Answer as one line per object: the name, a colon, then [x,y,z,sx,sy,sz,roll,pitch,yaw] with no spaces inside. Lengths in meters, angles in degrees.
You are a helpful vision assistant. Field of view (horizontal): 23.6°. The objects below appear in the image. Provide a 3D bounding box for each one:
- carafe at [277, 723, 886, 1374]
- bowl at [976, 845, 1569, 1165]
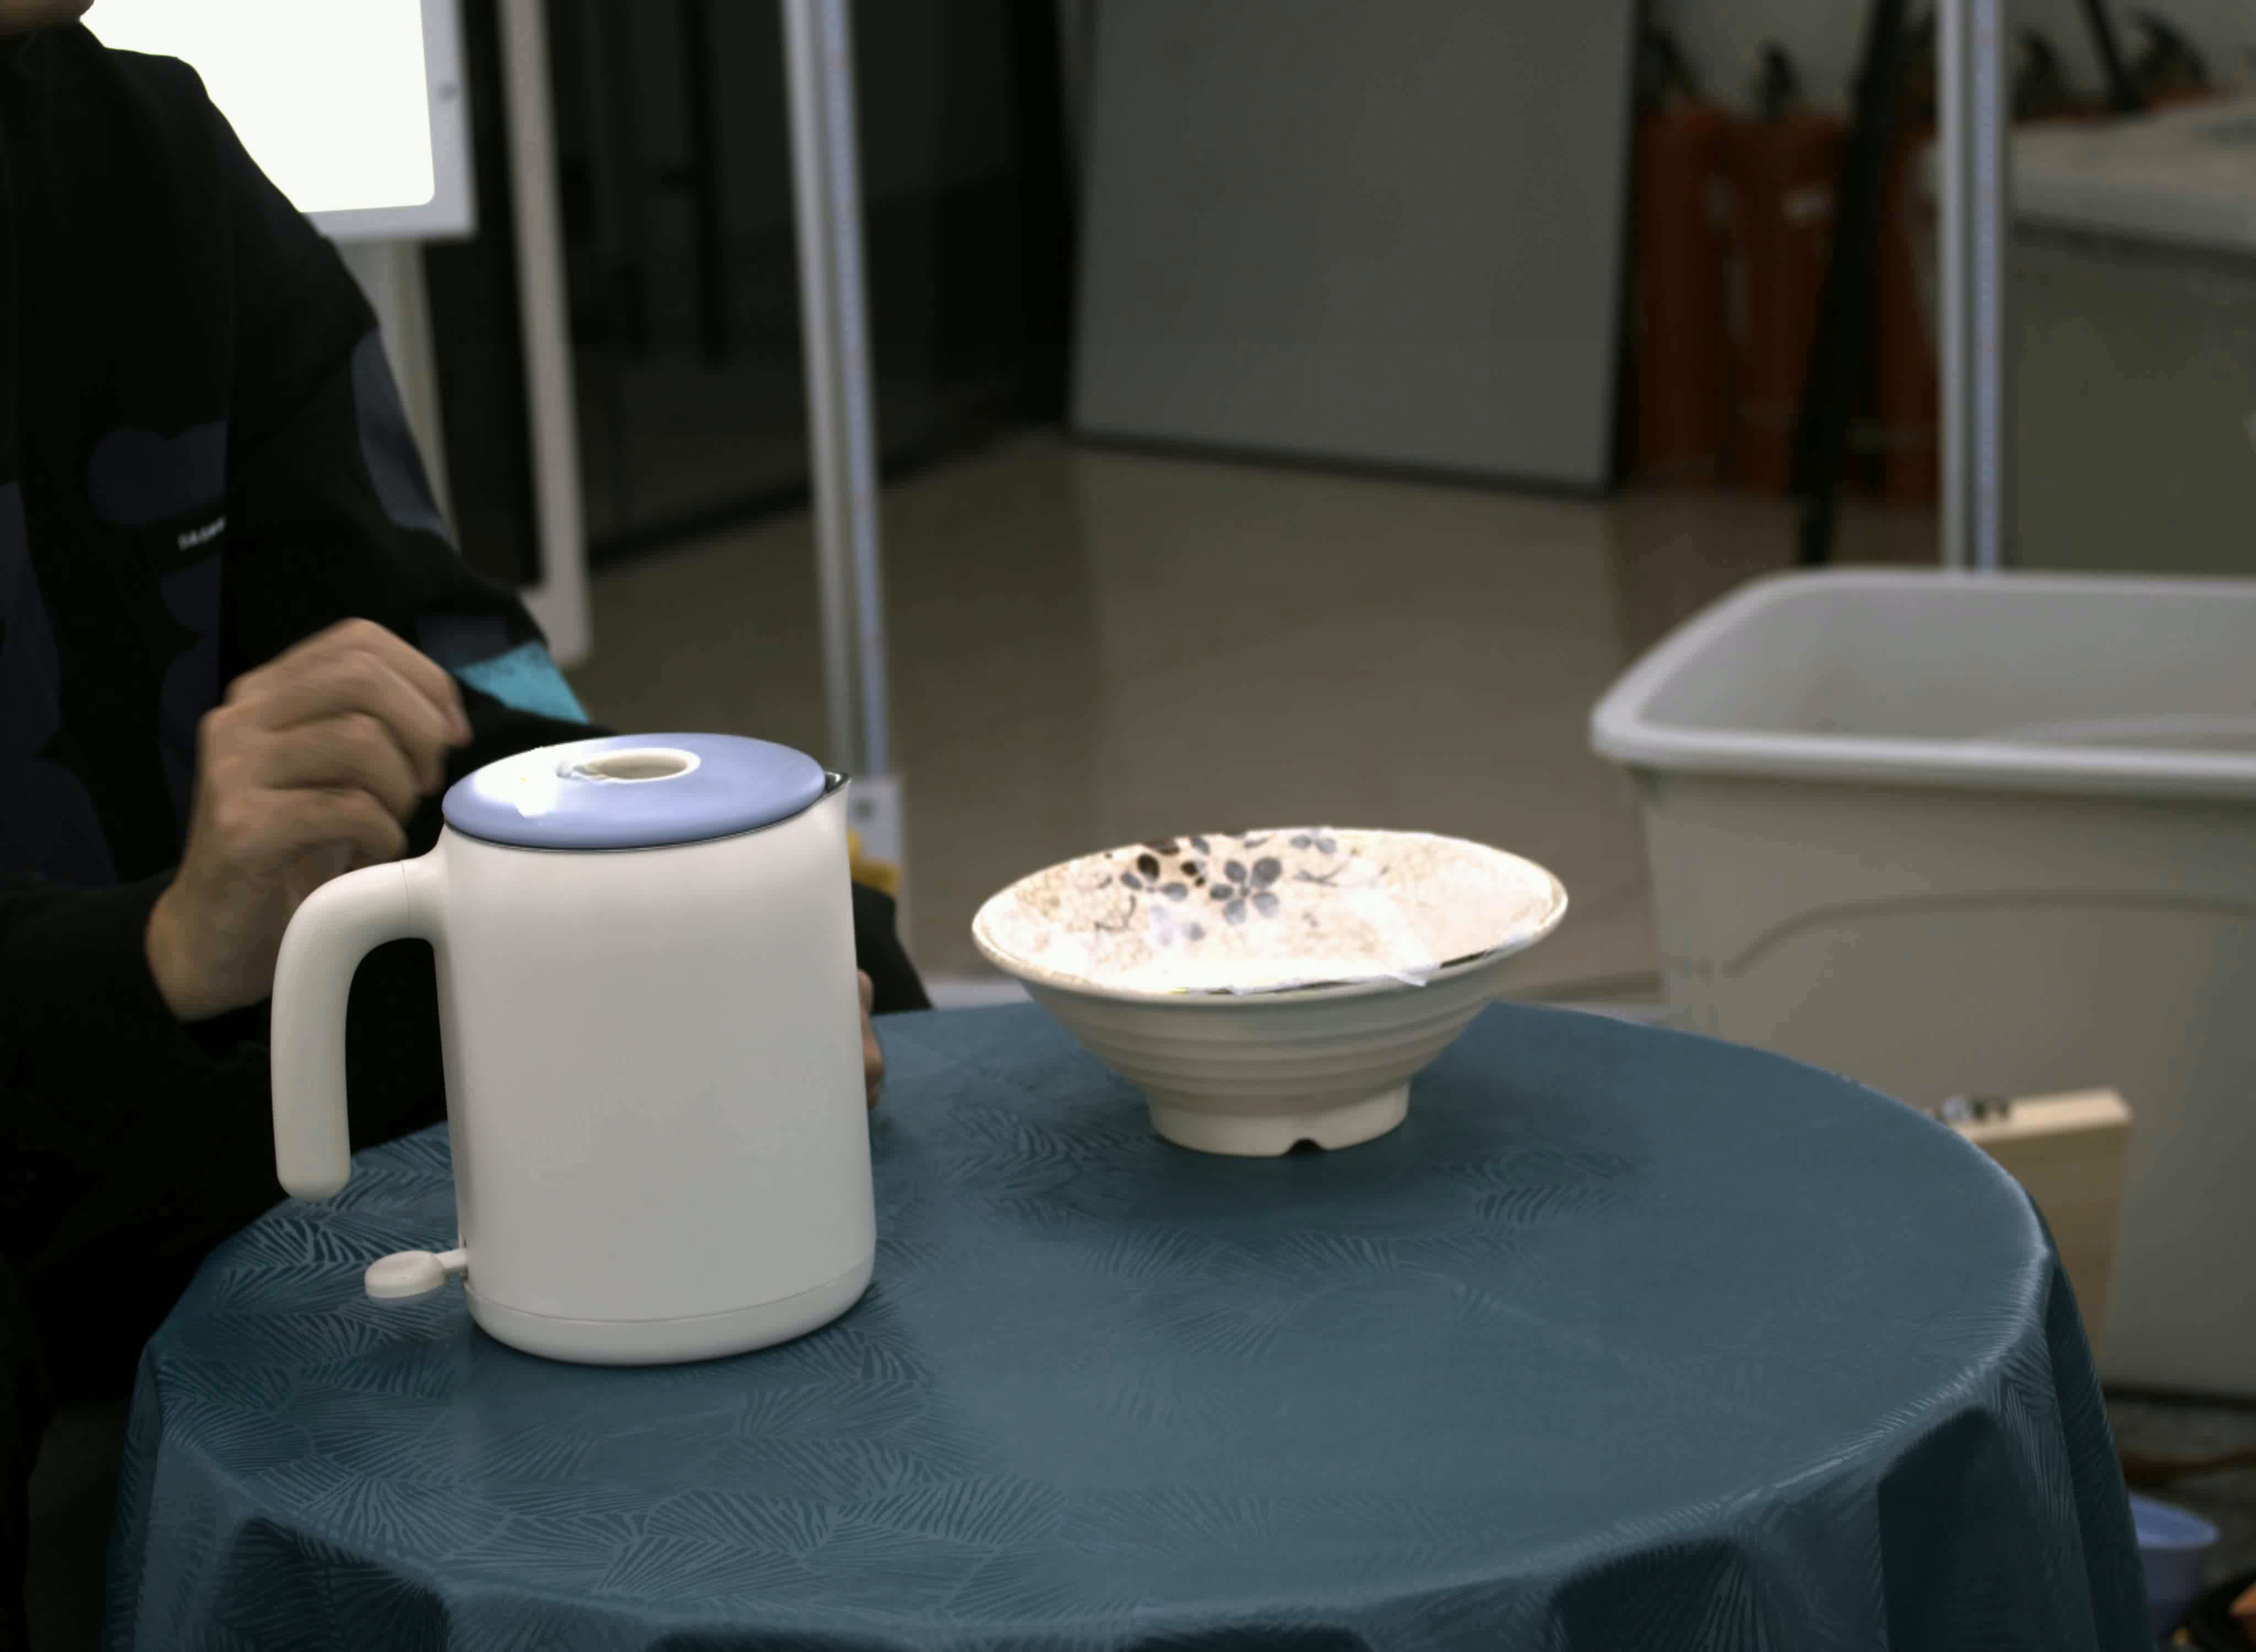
carafe: [-0.168,0.072,1.666,0.187,0.184,0.133,-10,13,-14]
bowl: [0.052,0.065,1.824,0.201,0.079,0.204,-5,12,0]
